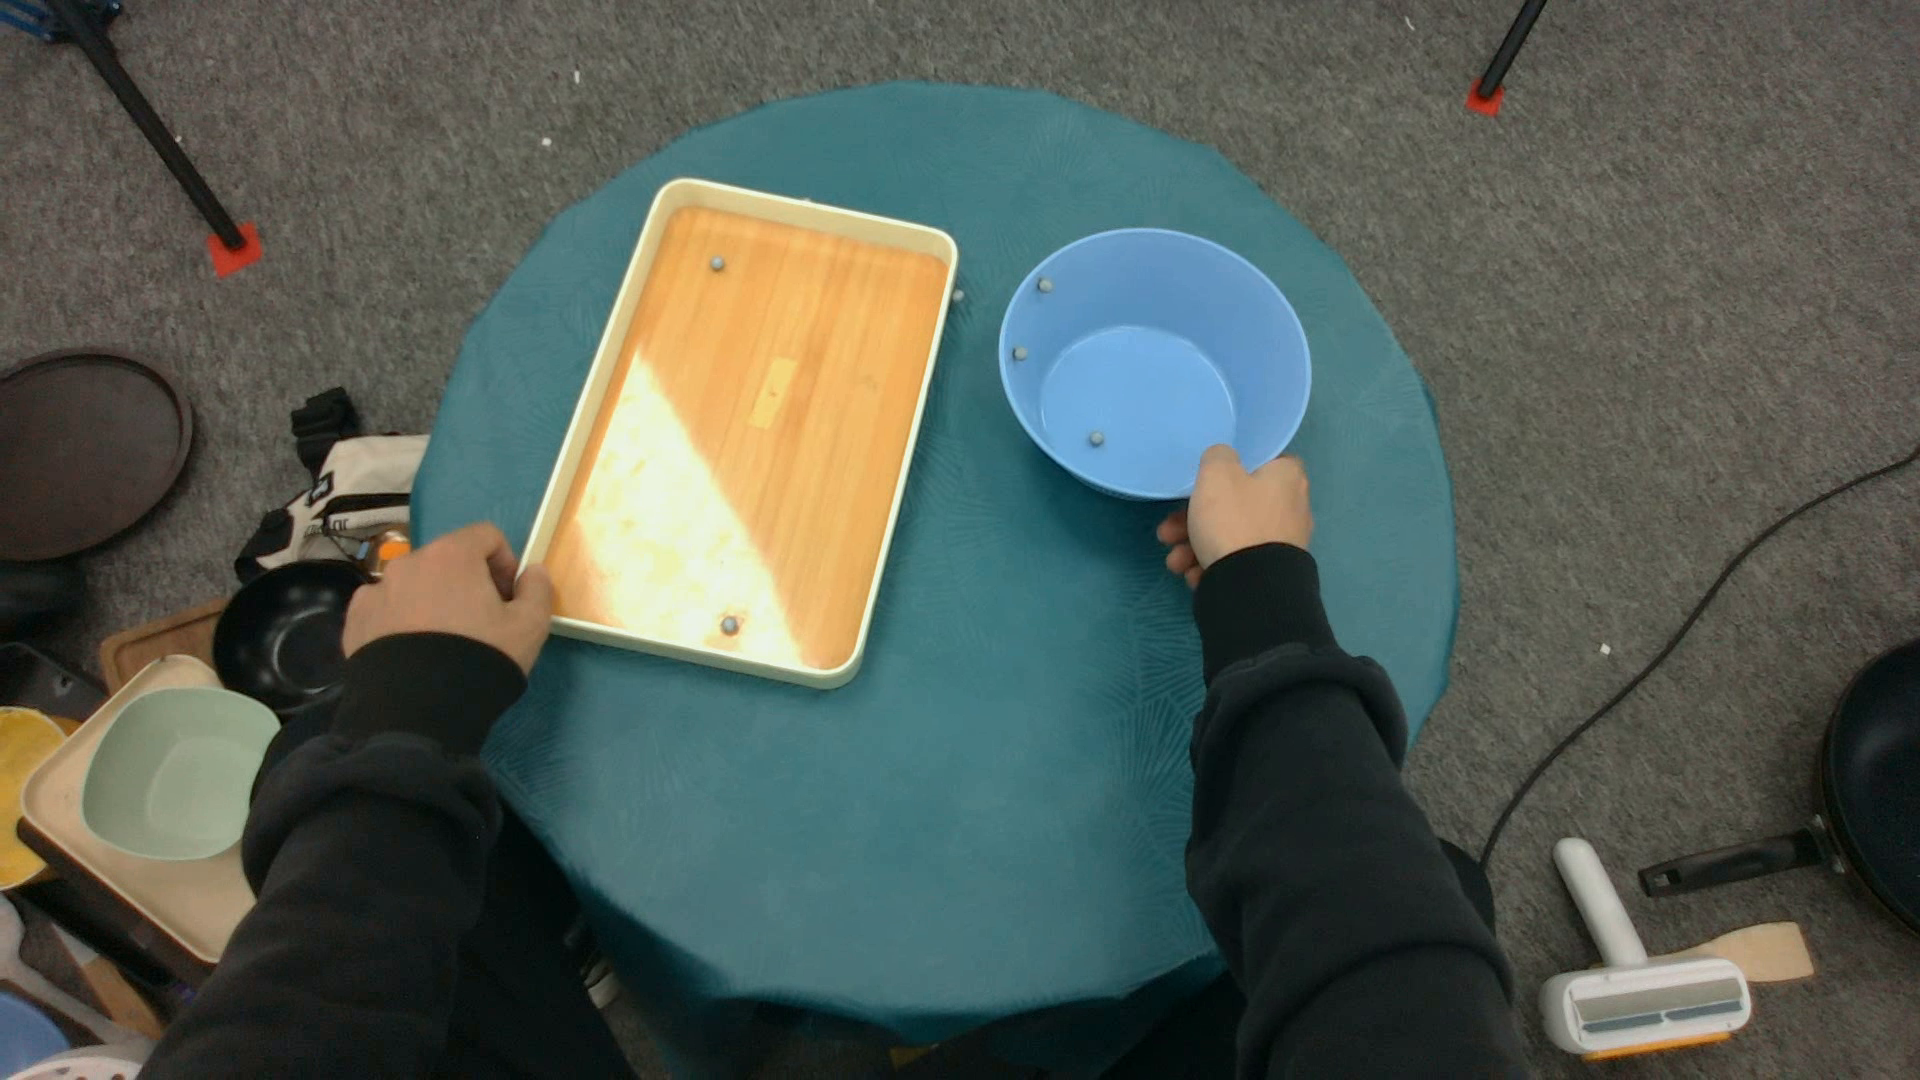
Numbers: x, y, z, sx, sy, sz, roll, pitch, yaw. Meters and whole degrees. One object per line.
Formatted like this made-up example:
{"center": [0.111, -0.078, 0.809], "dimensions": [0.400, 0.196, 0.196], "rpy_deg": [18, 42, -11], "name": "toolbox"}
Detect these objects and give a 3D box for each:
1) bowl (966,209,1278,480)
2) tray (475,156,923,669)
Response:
{"center": [0.089, -0.101, 0.797], "dimensions": [0.176, 0.070, 0.176], "rpy_deg": [2, 65, -3], "name": "bowl"}
{"center": [-0.141, -0.083, 0.793], "dimensions": [0.191, 0.027, 0.301], "rpy_deg": [11, 65, 1], "name": "tray"}
